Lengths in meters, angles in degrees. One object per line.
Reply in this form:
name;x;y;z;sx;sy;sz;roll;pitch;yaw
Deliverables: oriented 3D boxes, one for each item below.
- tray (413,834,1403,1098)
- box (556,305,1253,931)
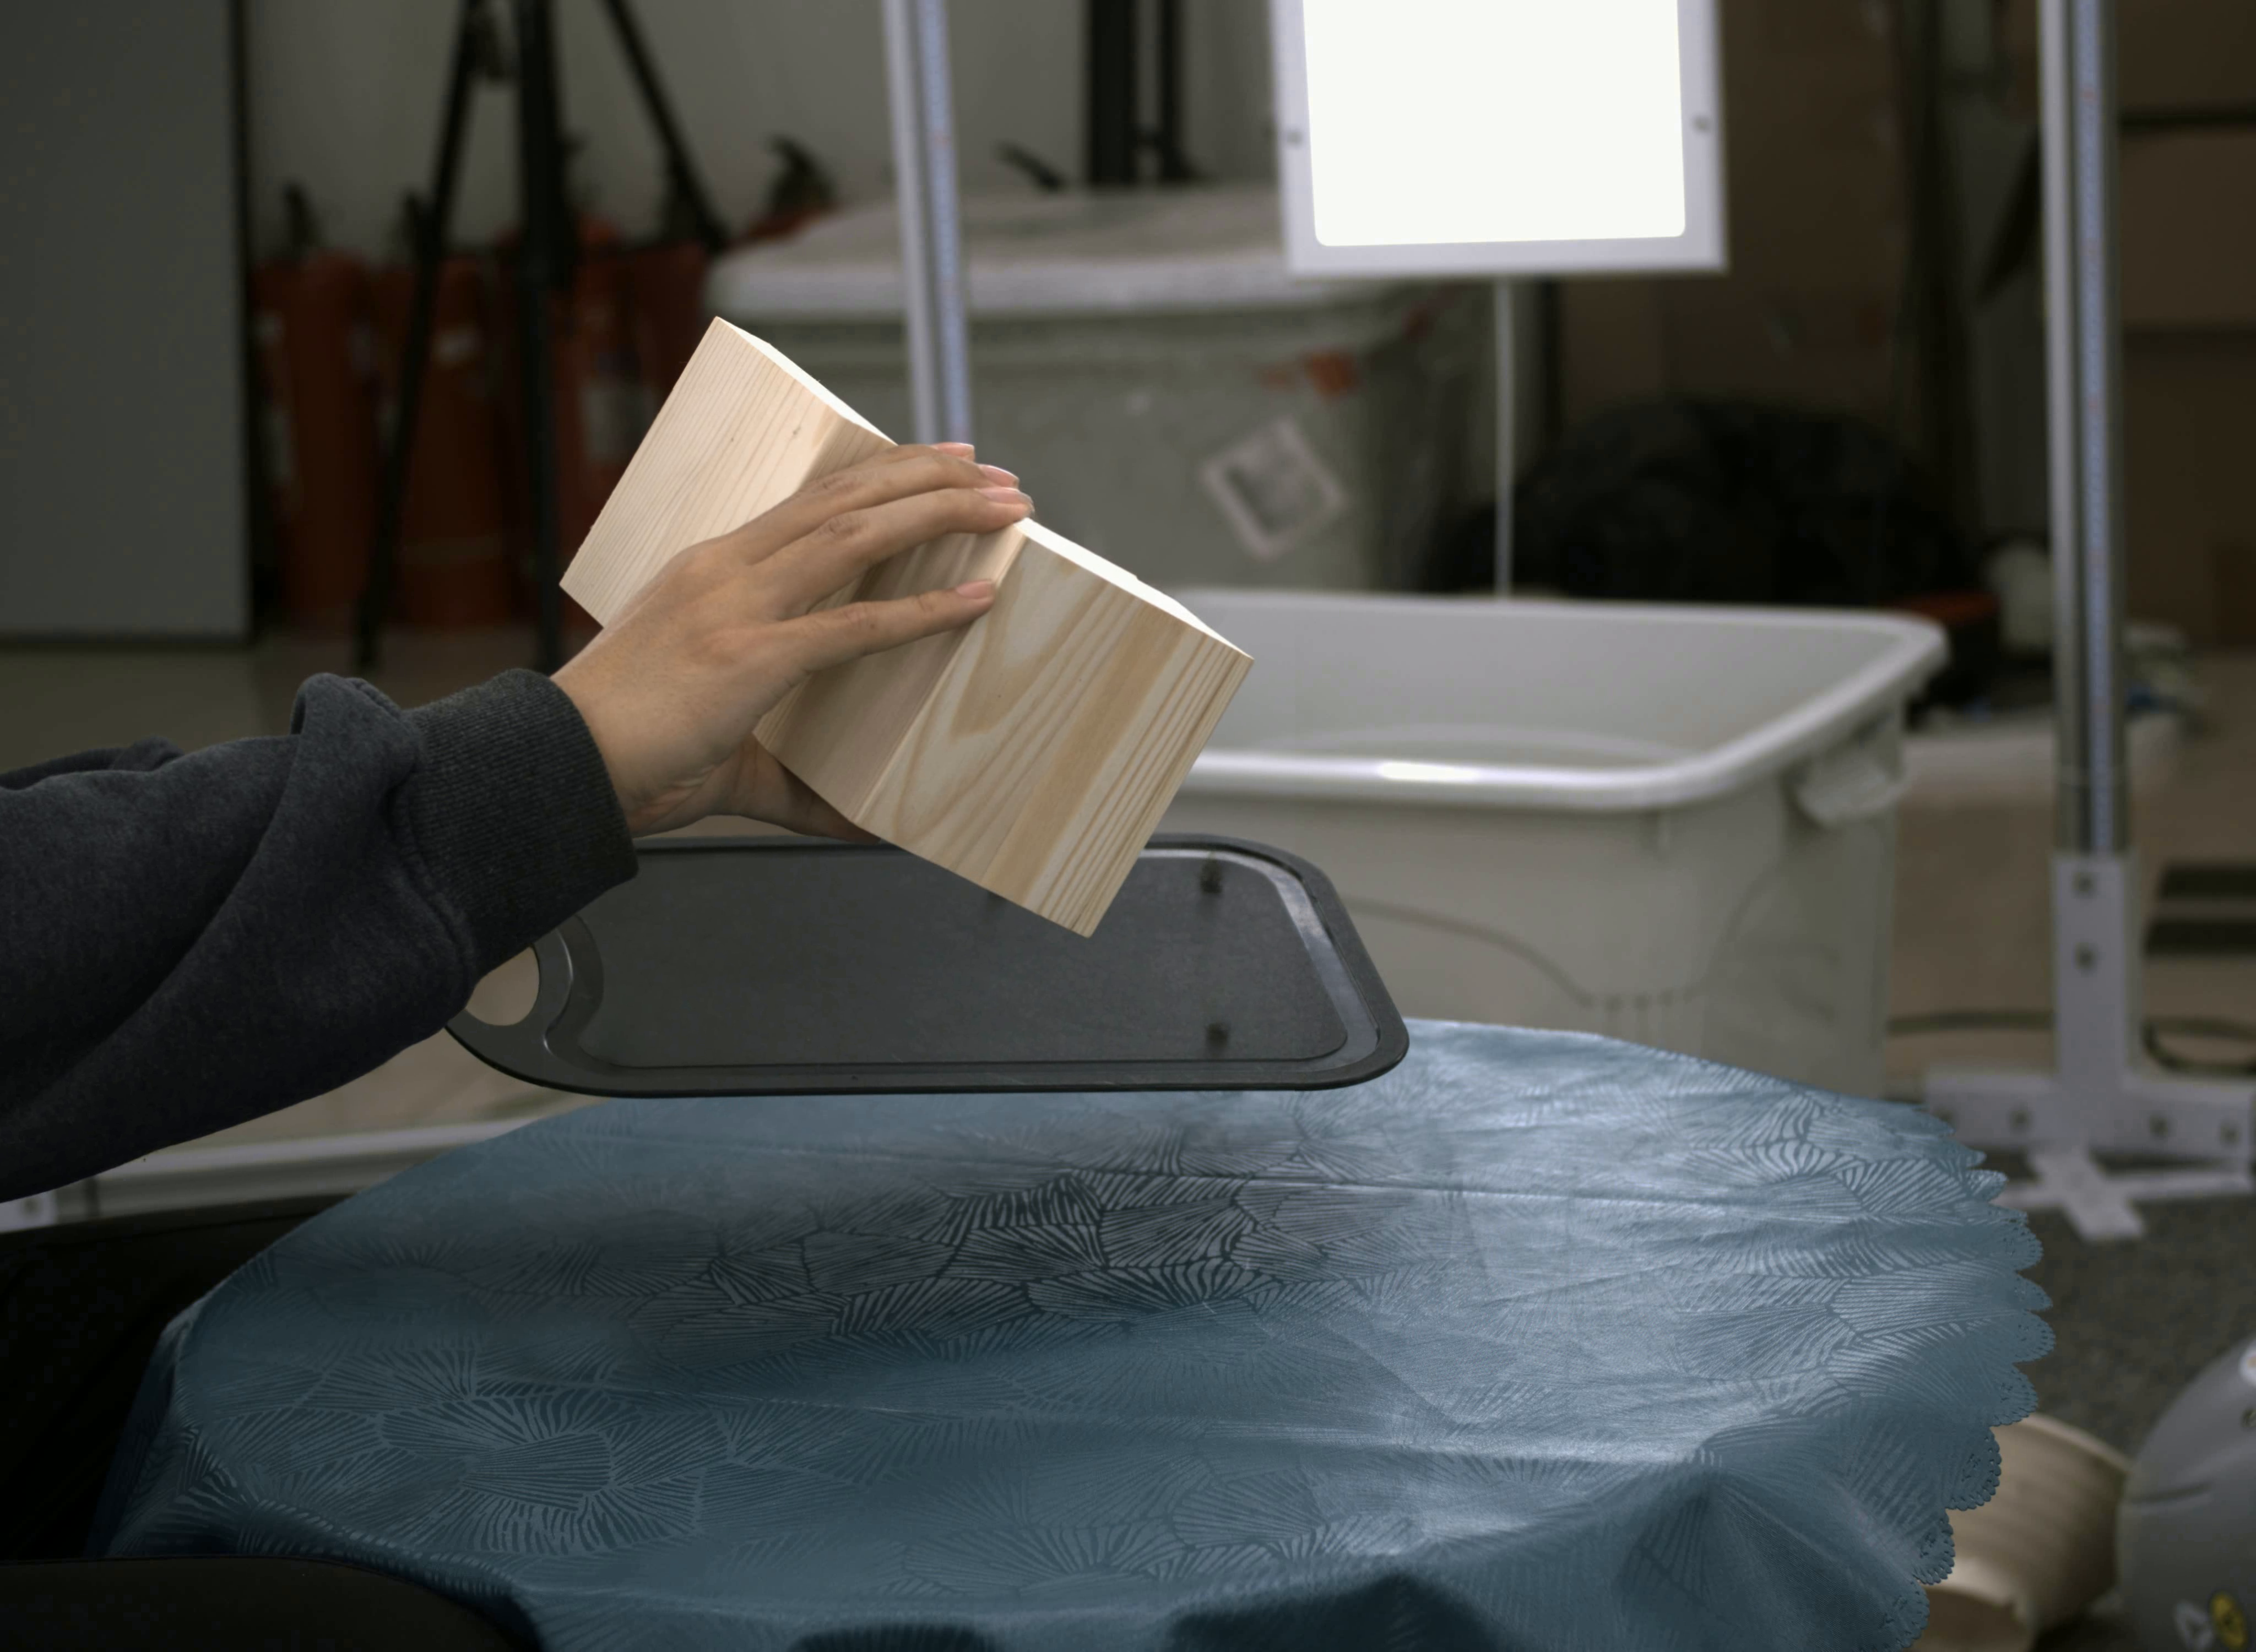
tray;-0.077;0.043;1.854;0.322;0.010;0.211;0;22;-8
box;-0.072;-0.066;1.724;0.131;0.103;0.187;26;9;-38
